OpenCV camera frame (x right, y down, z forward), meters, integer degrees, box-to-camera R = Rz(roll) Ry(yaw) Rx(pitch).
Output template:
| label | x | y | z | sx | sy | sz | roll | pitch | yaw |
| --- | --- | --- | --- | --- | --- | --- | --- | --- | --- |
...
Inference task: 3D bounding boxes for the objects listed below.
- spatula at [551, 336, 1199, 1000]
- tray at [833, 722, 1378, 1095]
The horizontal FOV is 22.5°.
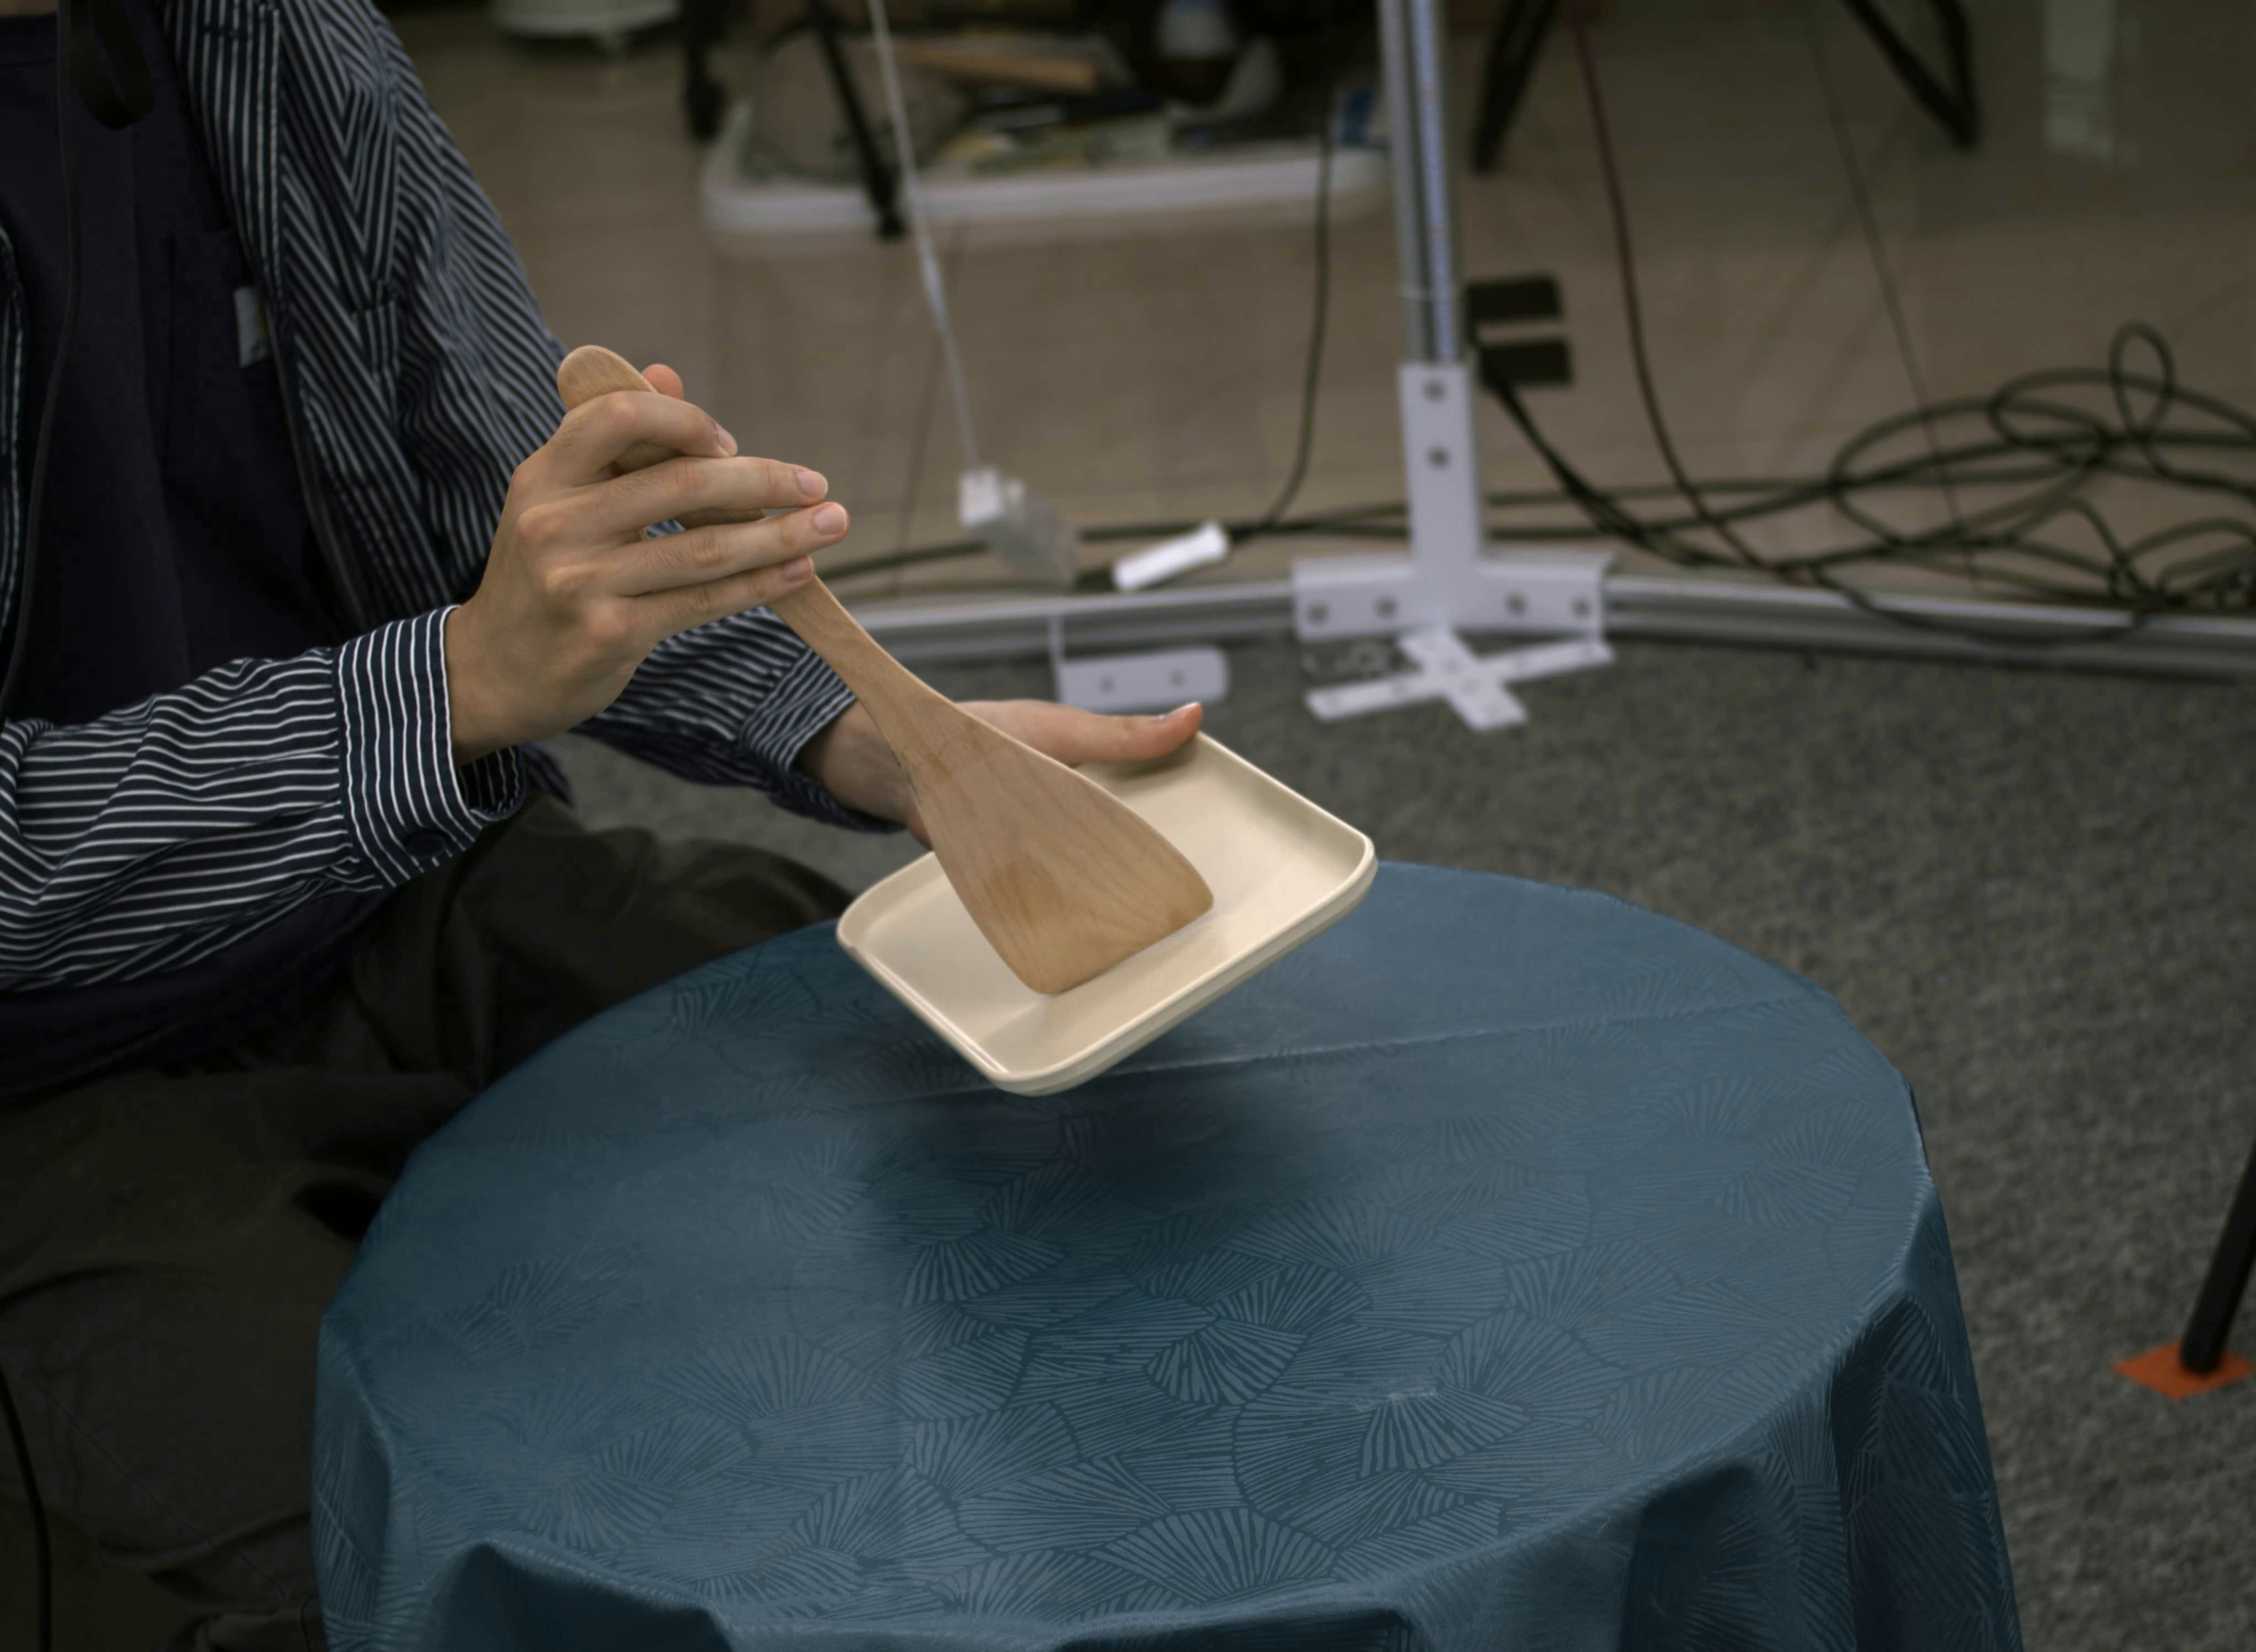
| label | x | y | z | sx | sy | sz | roll | pitch | yaw |
| --- | --- | --- | --- | --- | --- | --- | --- | --- | --- |
| spatula | -0.100 | -0.058 | 2.073 | 0.080 | 0.331 | 0.016 | -37 | 23 | 11 |
| tray | -0.010 | 0.031 | 2.182 | 0.170 | 0.018 | 0.237 | -31 | 24 | -10 |
